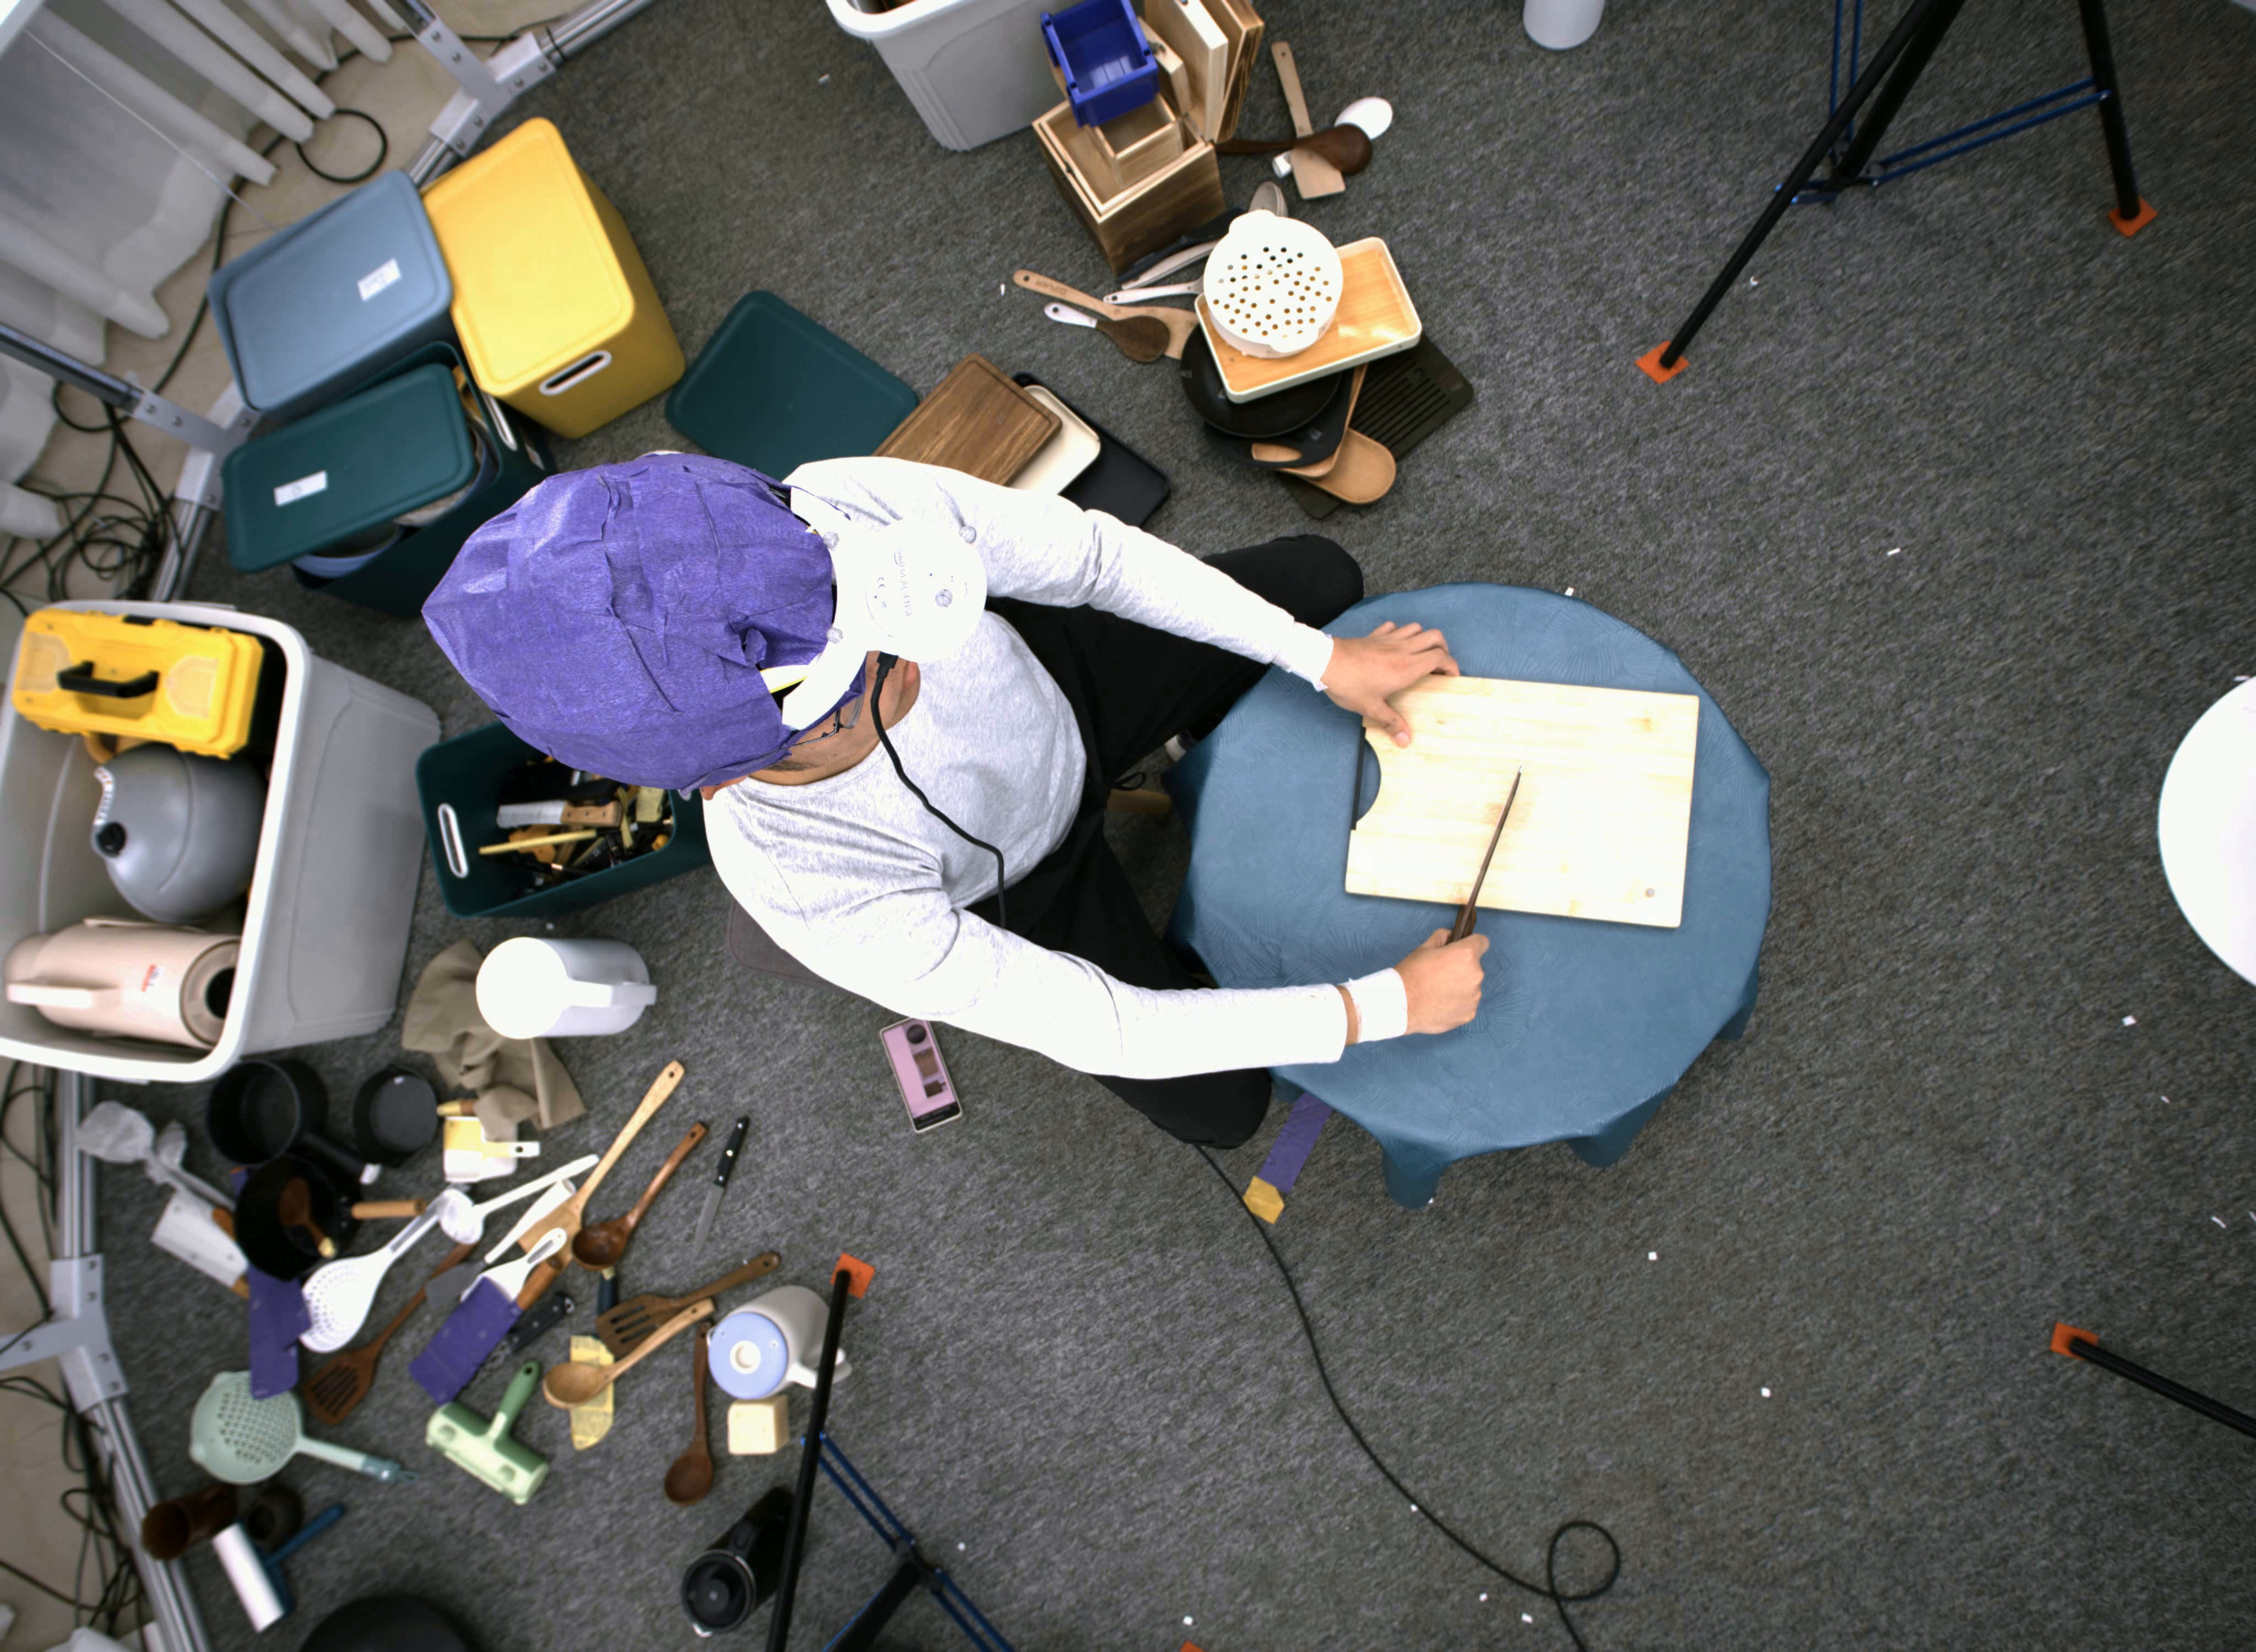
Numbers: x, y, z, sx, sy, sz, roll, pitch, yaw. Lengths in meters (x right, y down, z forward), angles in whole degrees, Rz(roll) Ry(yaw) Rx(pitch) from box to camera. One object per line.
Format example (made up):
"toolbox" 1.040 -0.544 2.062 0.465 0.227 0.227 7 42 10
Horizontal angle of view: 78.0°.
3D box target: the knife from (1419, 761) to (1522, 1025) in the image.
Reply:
"knife" 0.353 0.063 1.400 0.020 0.050 0.287 21 86 0

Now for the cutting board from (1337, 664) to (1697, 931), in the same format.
"cutting board" 0.403 -0.035 1.433 0.350 0.023 0.250 5 87 11
